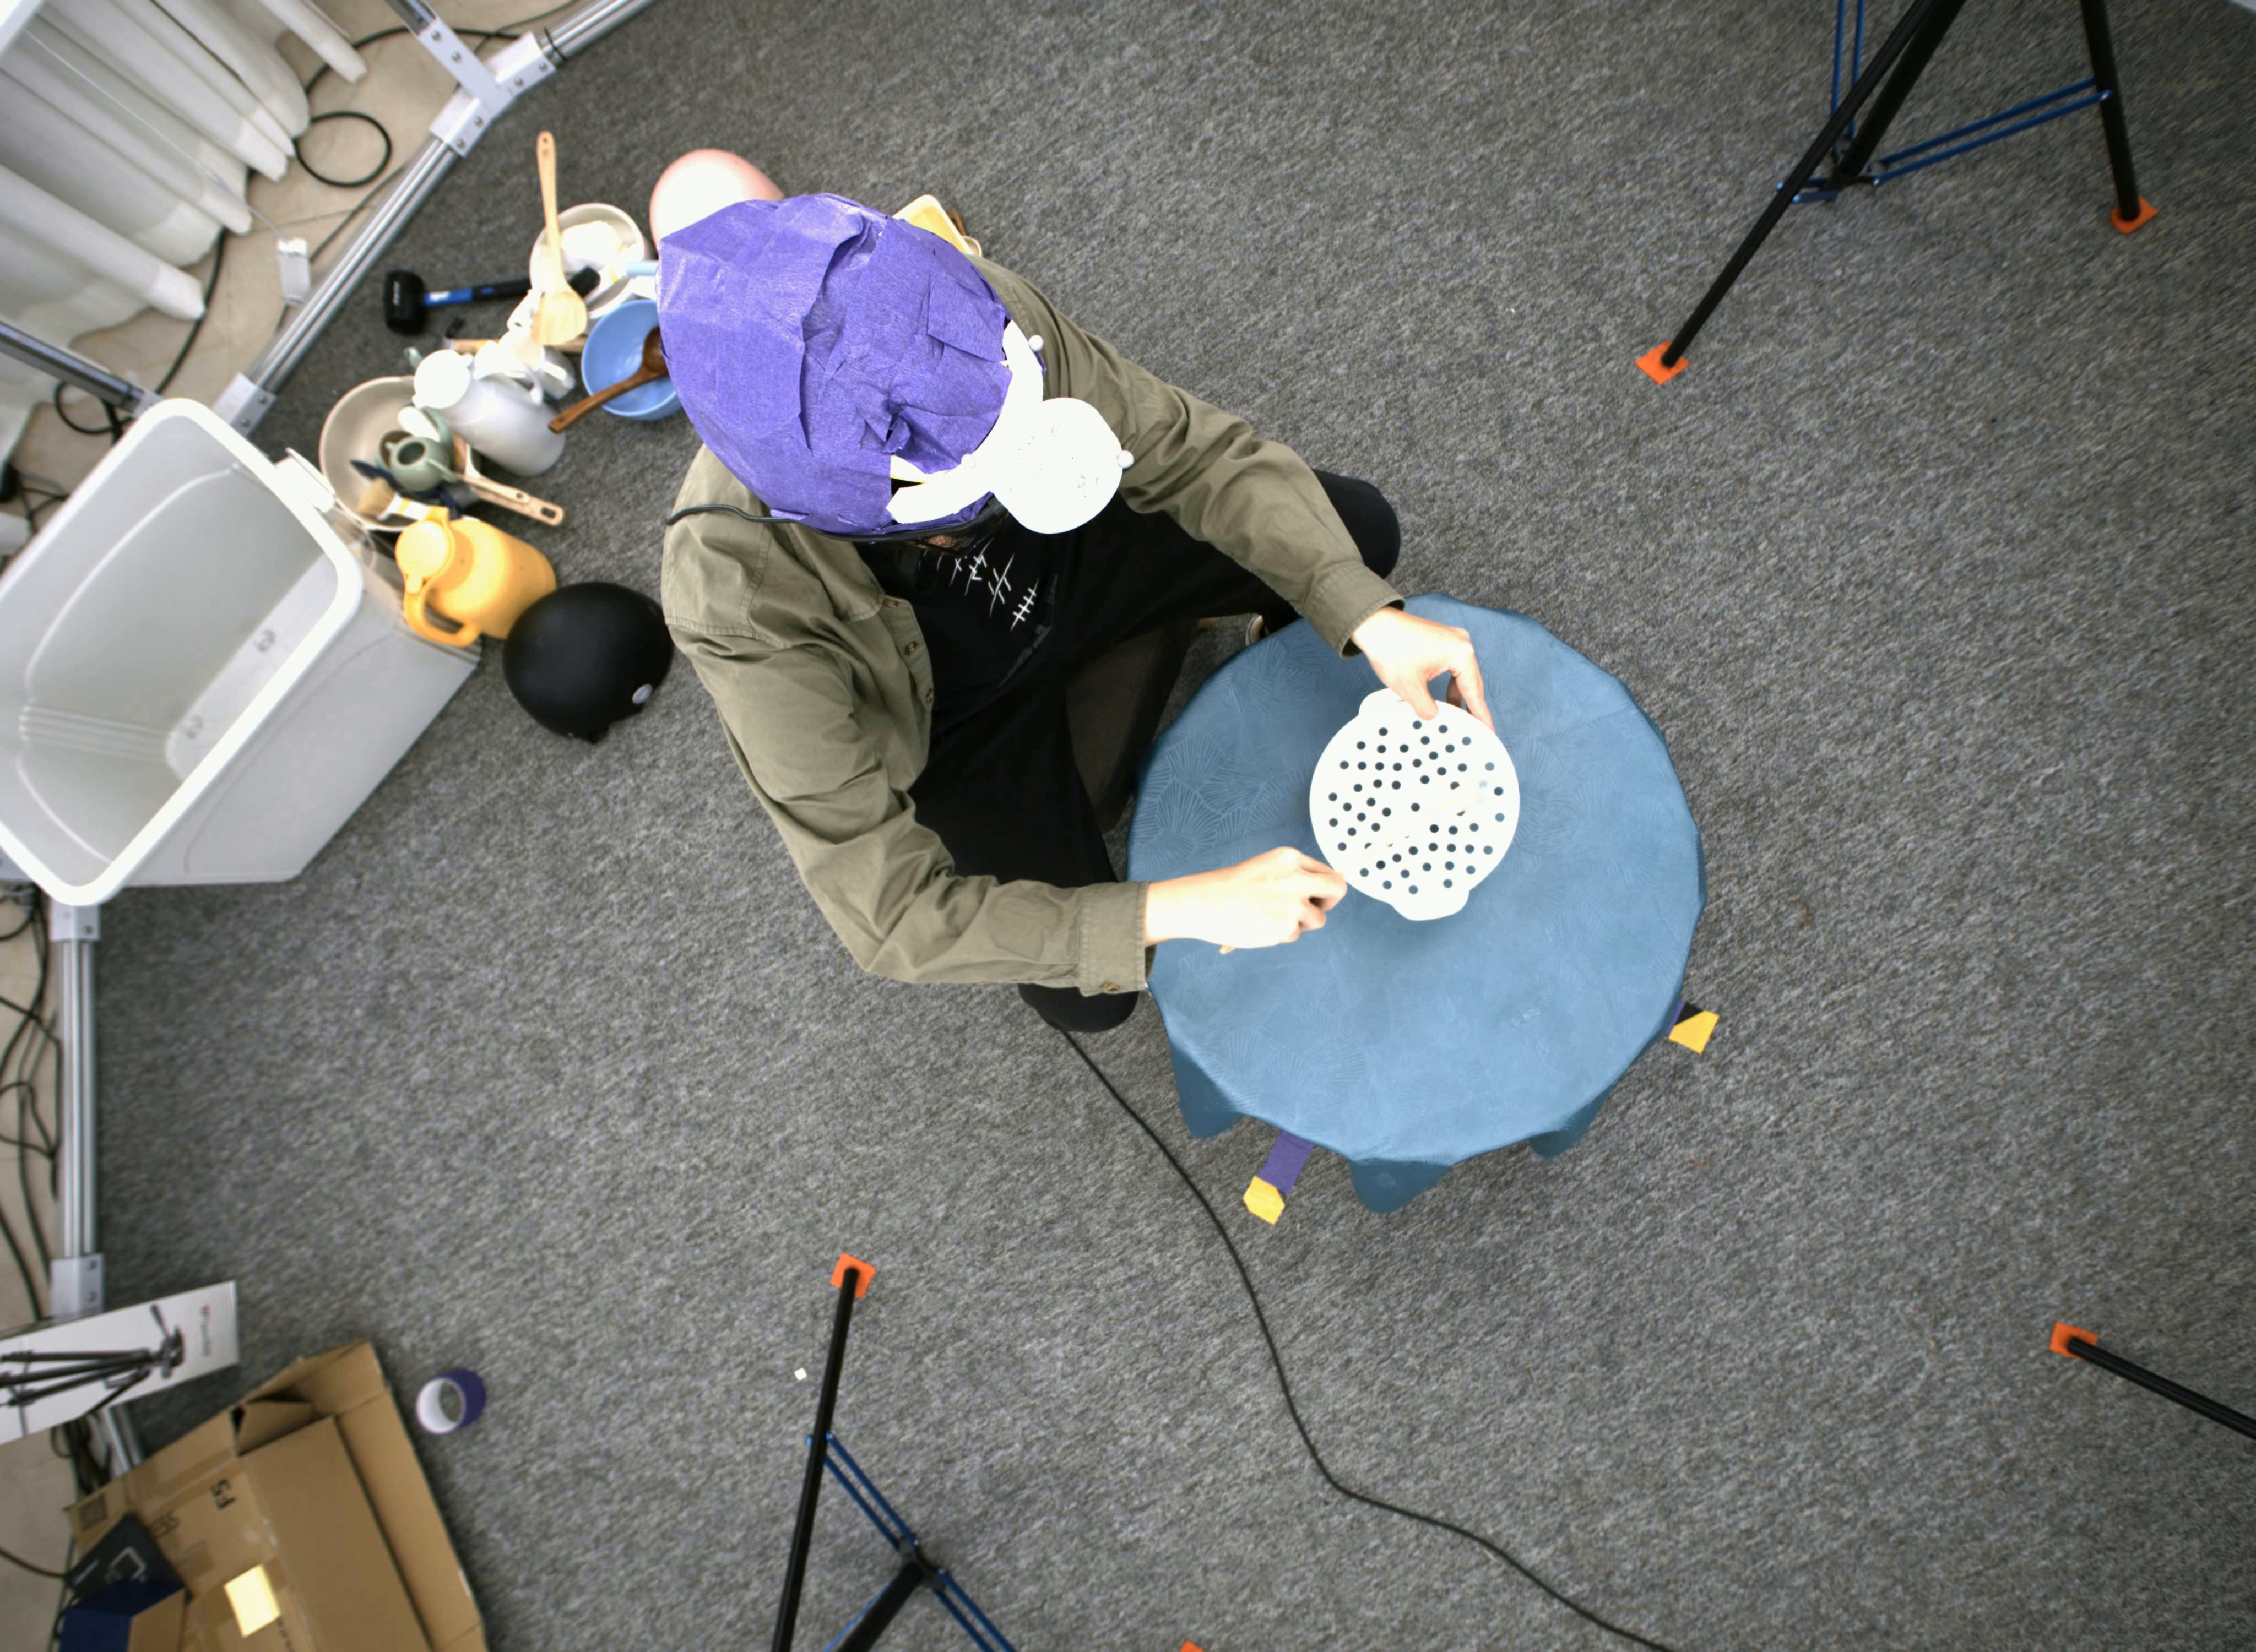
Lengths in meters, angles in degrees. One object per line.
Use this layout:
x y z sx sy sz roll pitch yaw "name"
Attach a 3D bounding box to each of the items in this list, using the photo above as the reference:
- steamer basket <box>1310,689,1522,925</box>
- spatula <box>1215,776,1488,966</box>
0.283 -0.018 1.354 0.203 0.069 0.229 -10 85 13 "steamer basket"
0.208 0.039 1.259 0.323 0.081 0.016 -33 74 -19 "spatula"
